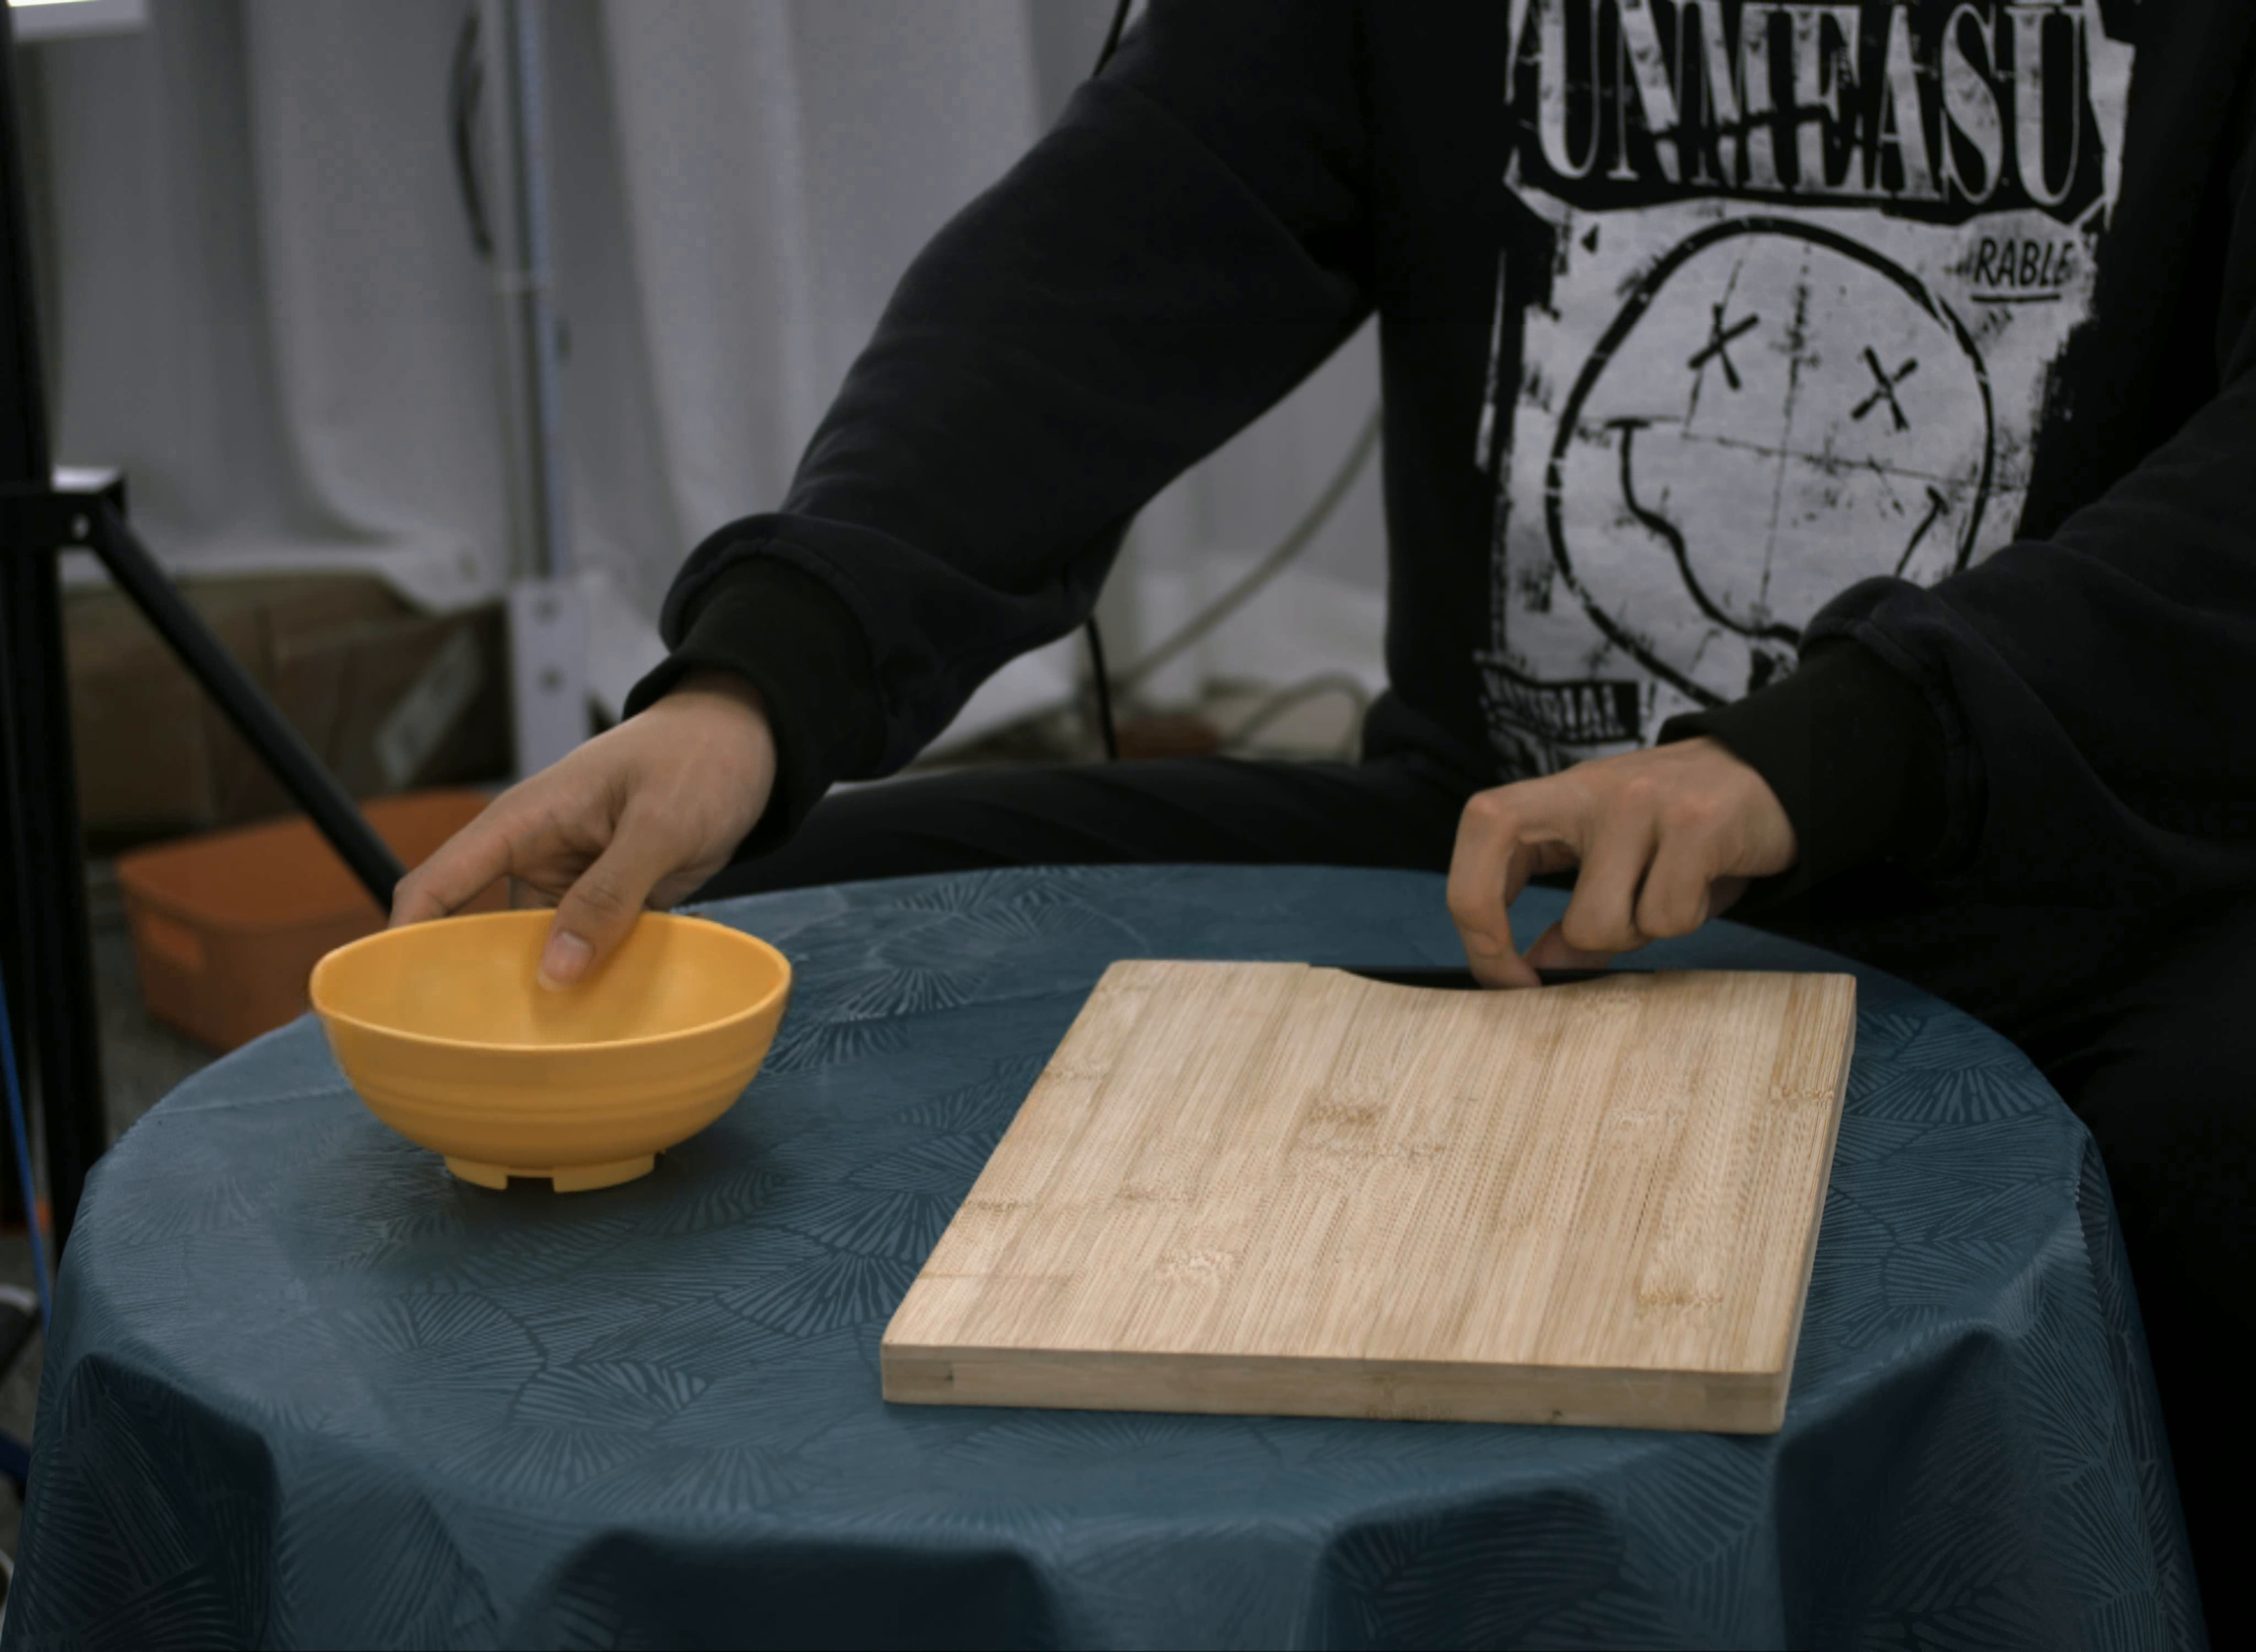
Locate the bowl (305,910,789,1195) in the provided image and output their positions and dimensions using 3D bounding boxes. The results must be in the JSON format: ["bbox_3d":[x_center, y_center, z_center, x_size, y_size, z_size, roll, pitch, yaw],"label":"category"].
[{"bbox_3d":[-0.175,0.073,1.603,0.144,0.060,0.146,2,15,-2],"label":"bowl"}]

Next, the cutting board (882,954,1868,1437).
[{"bbox_3d":[0.084,0.100,1.542,0.252,0.023,0.347,0,16,11],"label":"cutting board"}]
